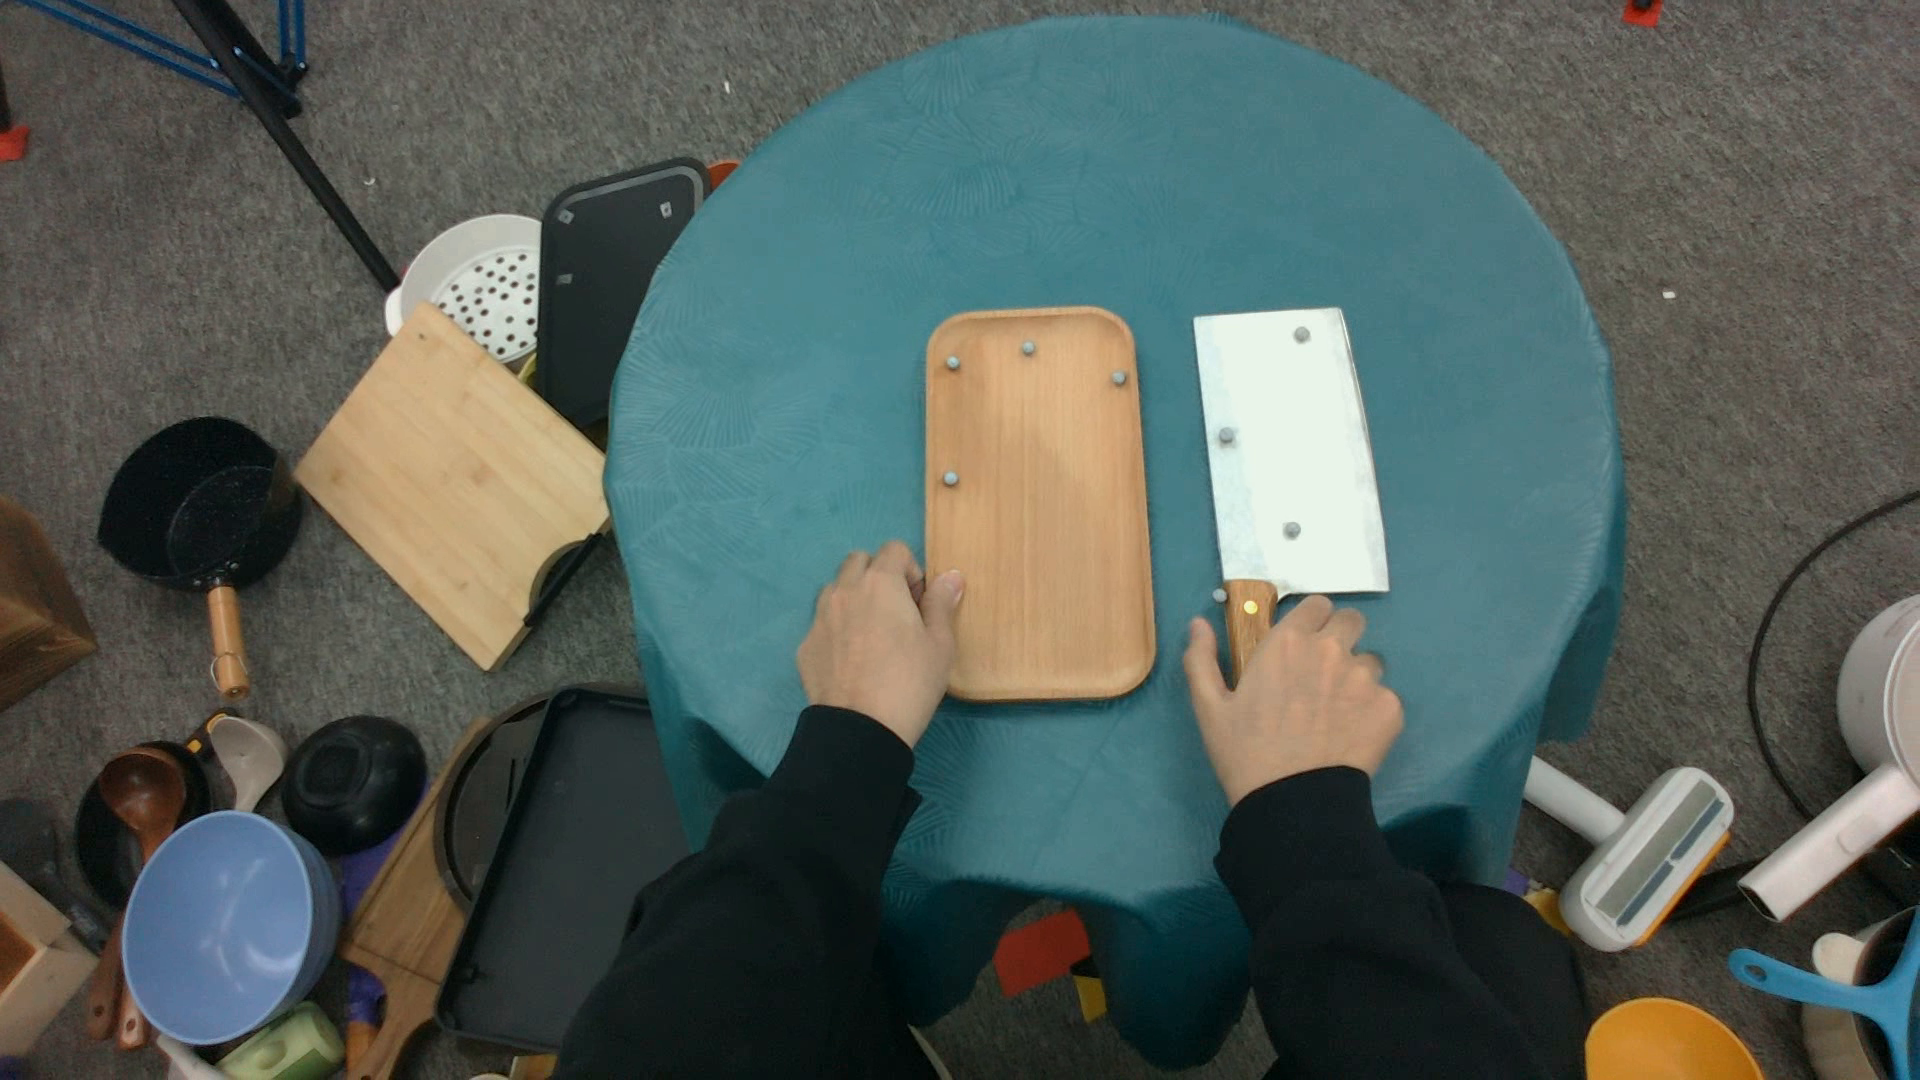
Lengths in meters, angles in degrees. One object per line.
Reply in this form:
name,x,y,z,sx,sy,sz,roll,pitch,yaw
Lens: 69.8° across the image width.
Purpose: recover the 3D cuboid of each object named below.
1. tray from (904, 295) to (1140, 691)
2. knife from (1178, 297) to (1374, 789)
tray,0.035,-0.032,0.792,0.130,0.023,0.251,-1,66,4
knife,0.181,-0.011,0.773,0.093,0.021,0.307,-3,63,2
